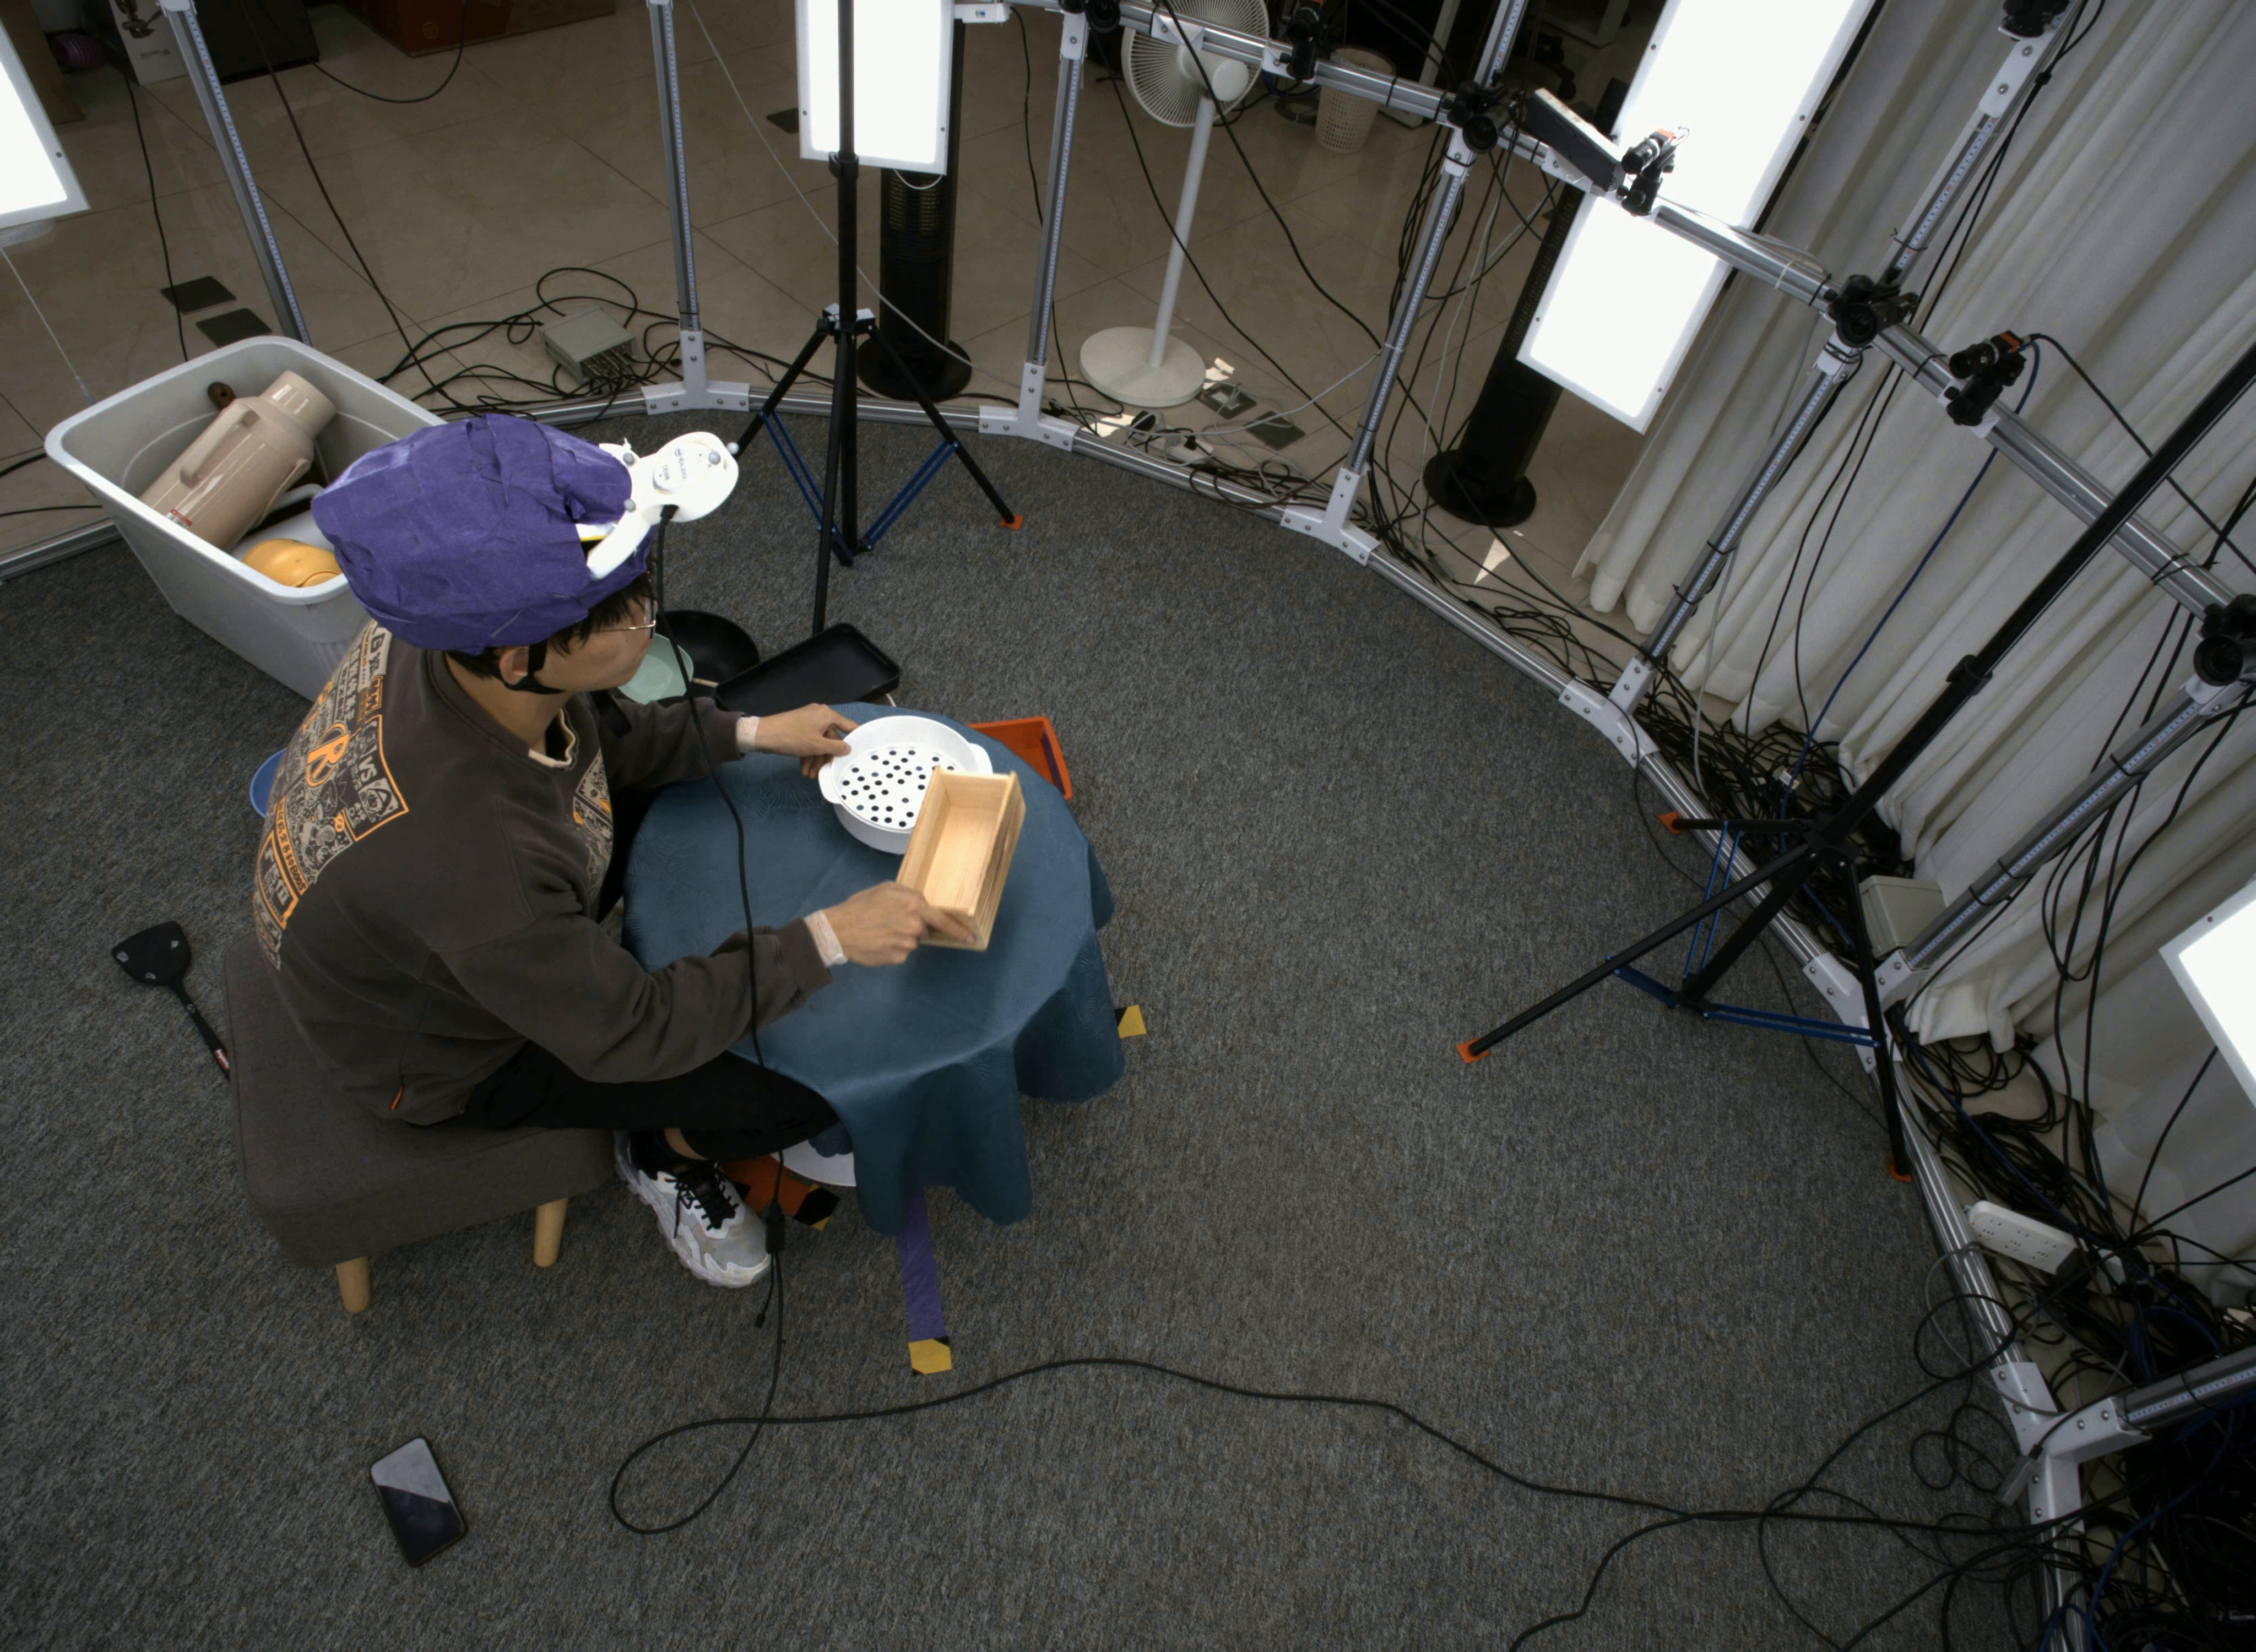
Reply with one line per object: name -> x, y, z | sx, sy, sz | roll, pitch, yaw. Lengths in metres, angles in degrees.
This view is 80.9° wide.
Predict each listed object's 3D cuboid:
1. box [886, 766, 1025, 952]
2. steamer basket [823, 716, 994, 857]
box -> -0.207, 0.037, 1.590 | 0.105, 0.083, 0.209 | 6, 56, 10
steamer basket -> -0.296, -0.054, 1.767 | 0.231, 0.071, 0.197 | -10, 57, -17
